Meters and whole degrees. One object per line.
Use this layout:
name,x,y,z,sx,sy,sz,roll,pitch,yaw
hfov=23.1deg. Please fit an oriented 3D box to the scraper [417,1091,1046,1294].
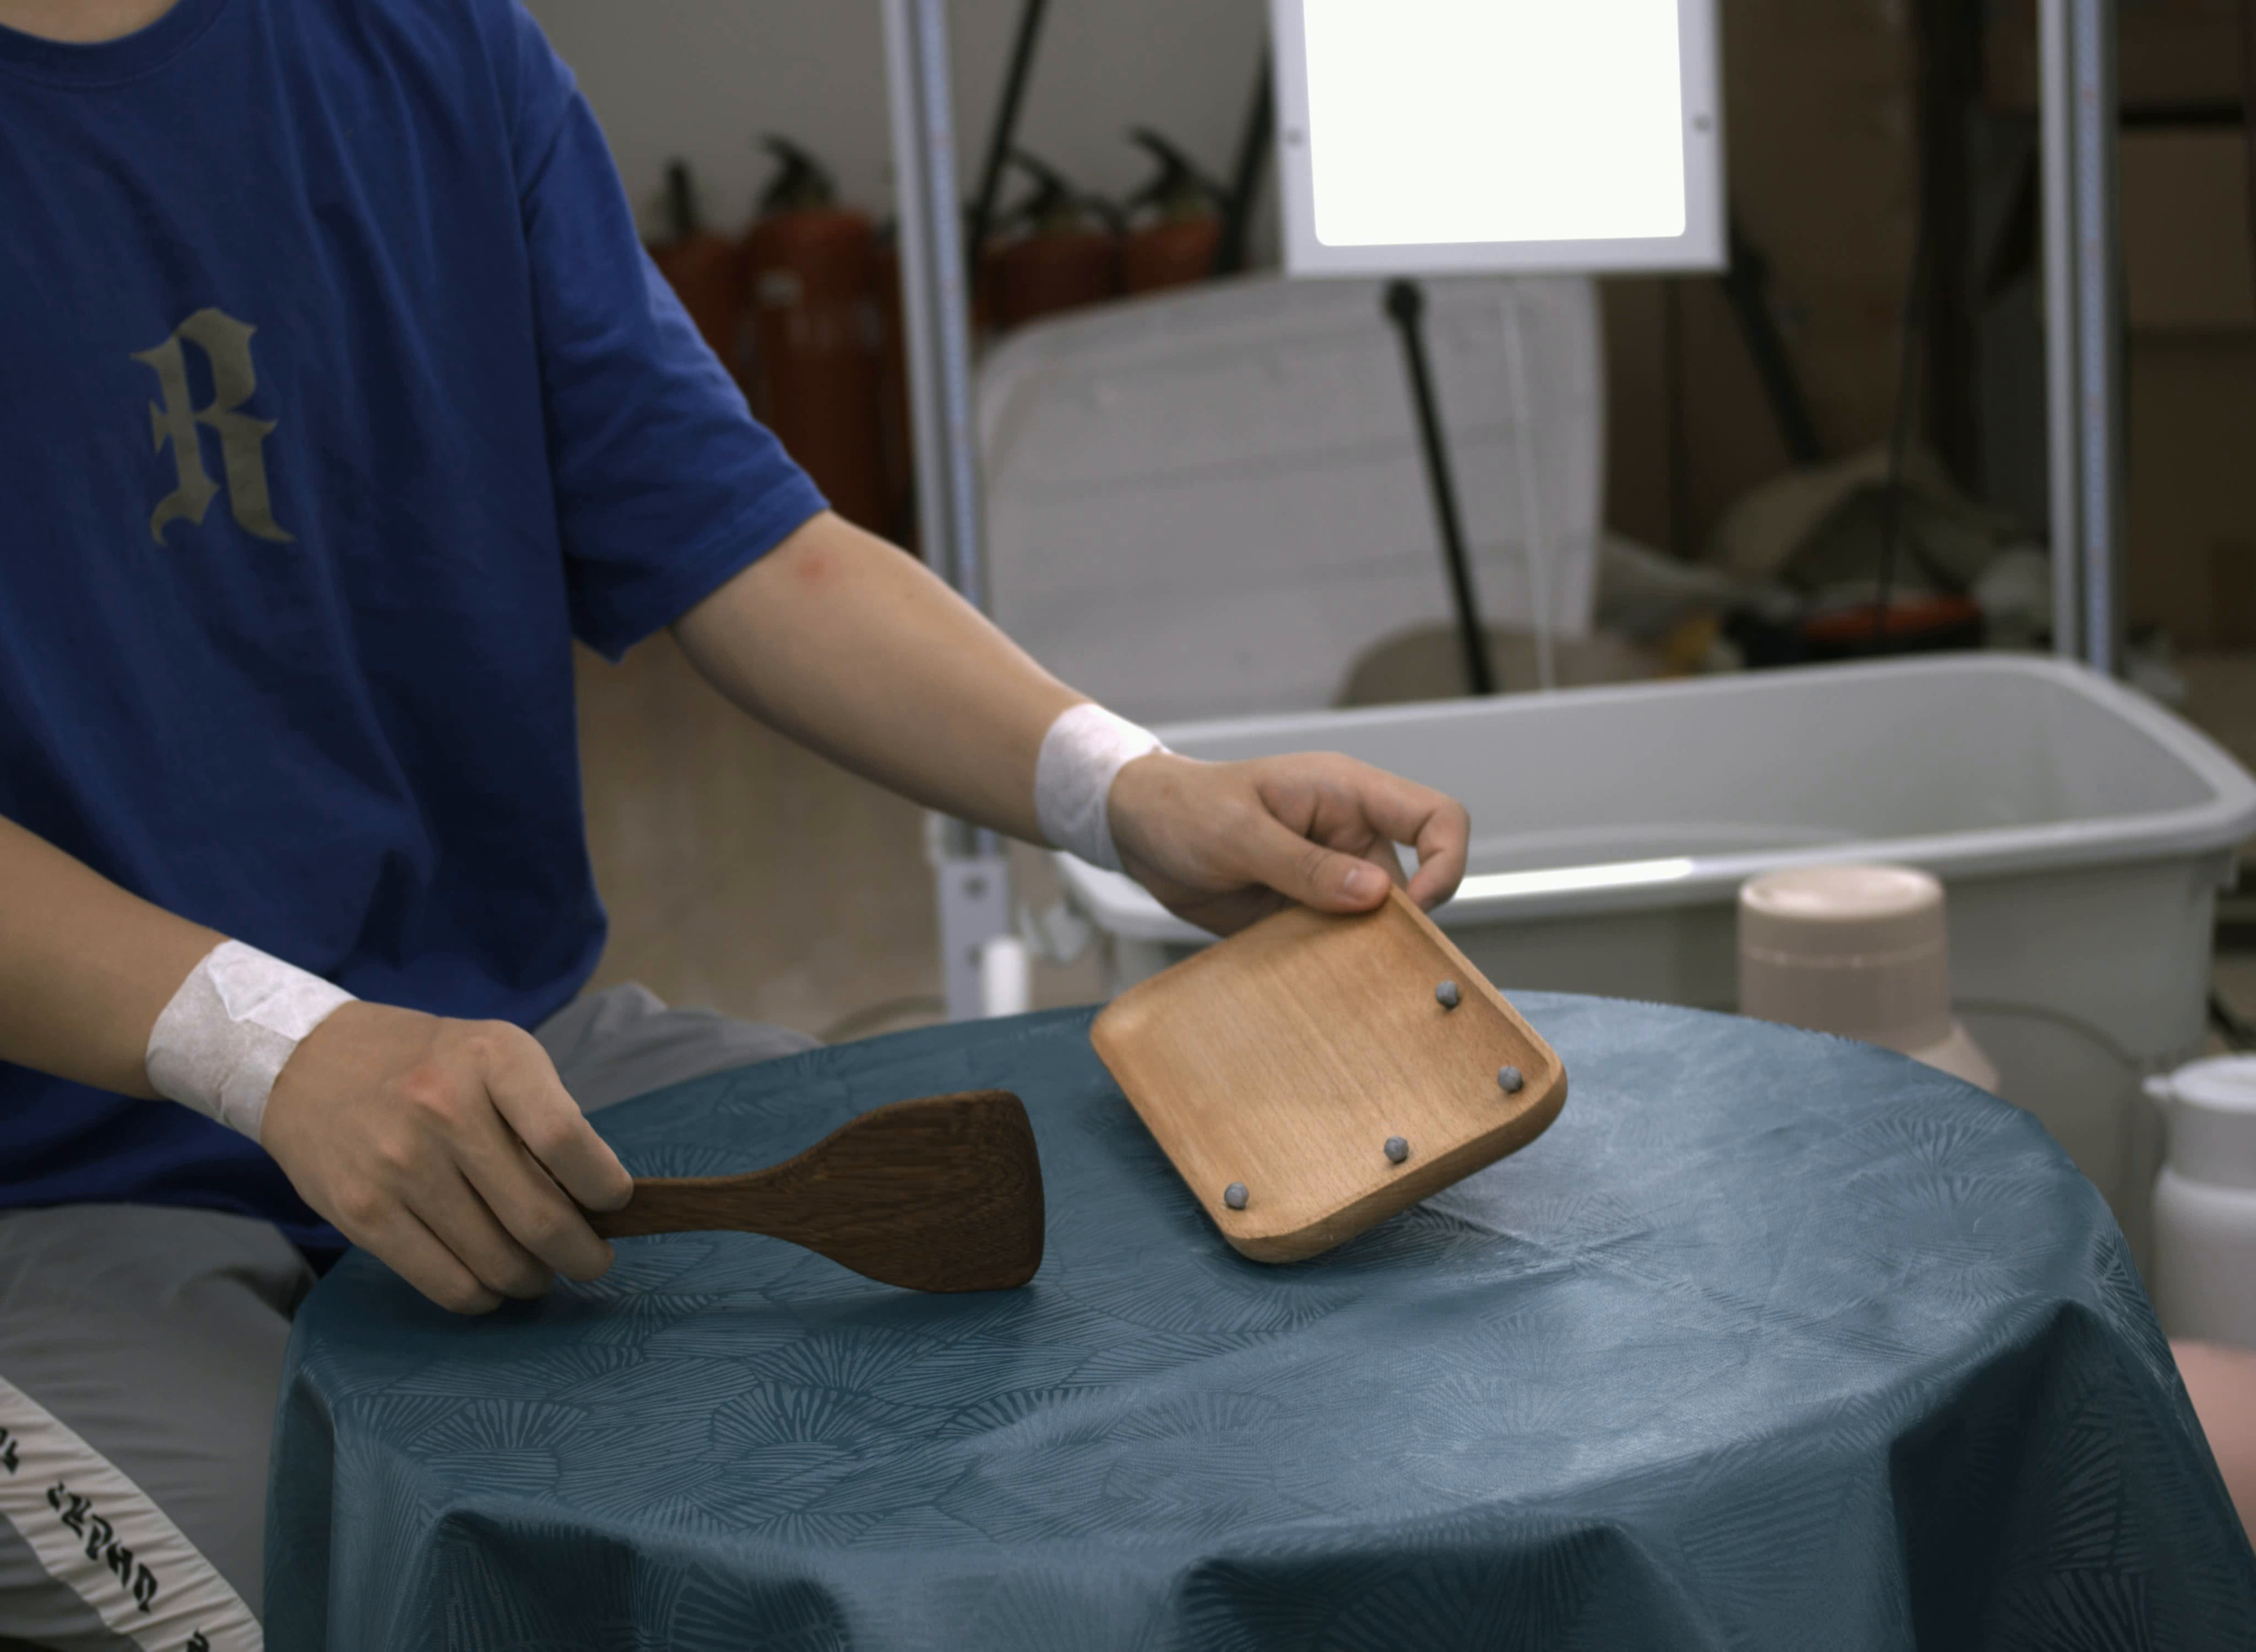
scraper,-0.131,0.125,1.811,0.213,0.076,0.011,-3,29,13

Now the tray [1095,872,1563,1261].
tray,0.067,0.081,1.911,0.130,0.023,0.252,-26,19,-3
